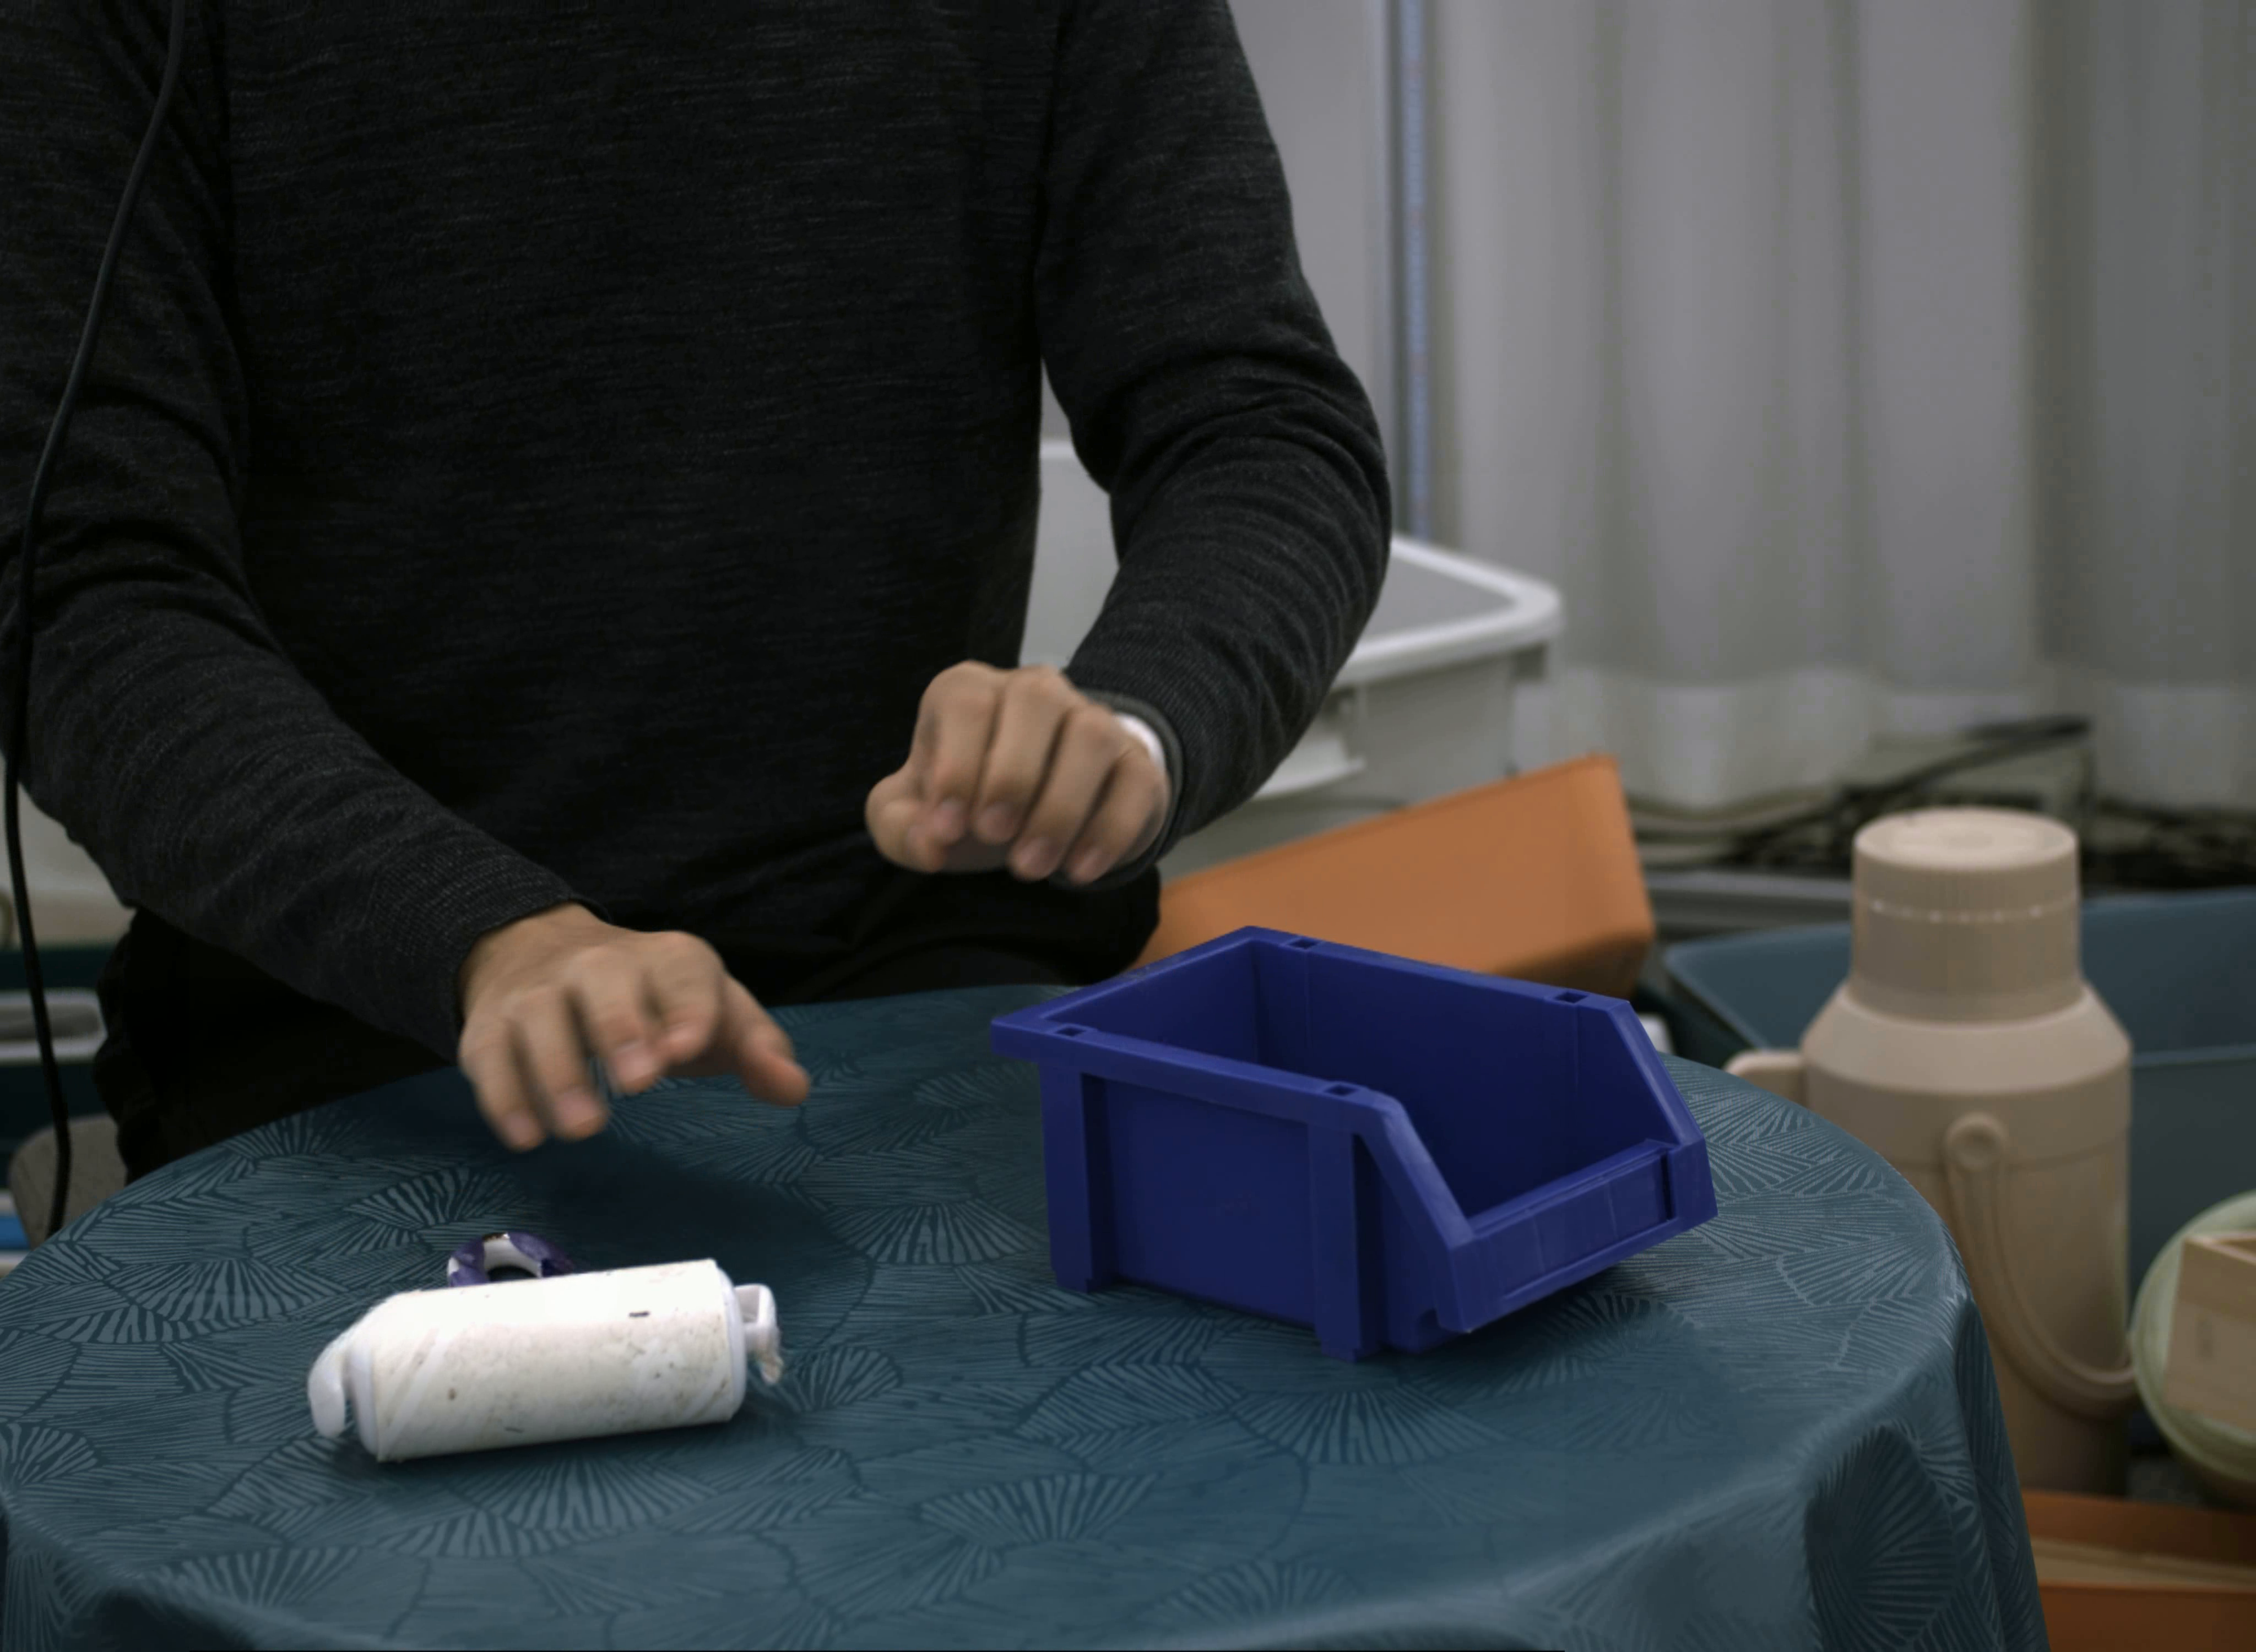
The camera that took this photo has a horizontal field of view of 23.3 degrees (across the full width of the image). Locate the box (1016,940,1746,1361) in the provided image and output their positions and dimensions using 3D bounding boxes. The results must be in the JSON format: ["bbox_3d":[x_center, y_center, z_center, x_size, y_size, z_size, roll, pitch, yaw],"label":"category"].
[{"bbox_3d":[0.076,0.095,1.615,0.180,0.081,0.124,7,17,43],"label":"box"}]

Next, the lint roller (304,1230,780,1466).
[{"bbox_3d":[-0.174,0.133,1.588,0.132,0.050,0.182,-6,16,-9],"label":"lint roller"}]
